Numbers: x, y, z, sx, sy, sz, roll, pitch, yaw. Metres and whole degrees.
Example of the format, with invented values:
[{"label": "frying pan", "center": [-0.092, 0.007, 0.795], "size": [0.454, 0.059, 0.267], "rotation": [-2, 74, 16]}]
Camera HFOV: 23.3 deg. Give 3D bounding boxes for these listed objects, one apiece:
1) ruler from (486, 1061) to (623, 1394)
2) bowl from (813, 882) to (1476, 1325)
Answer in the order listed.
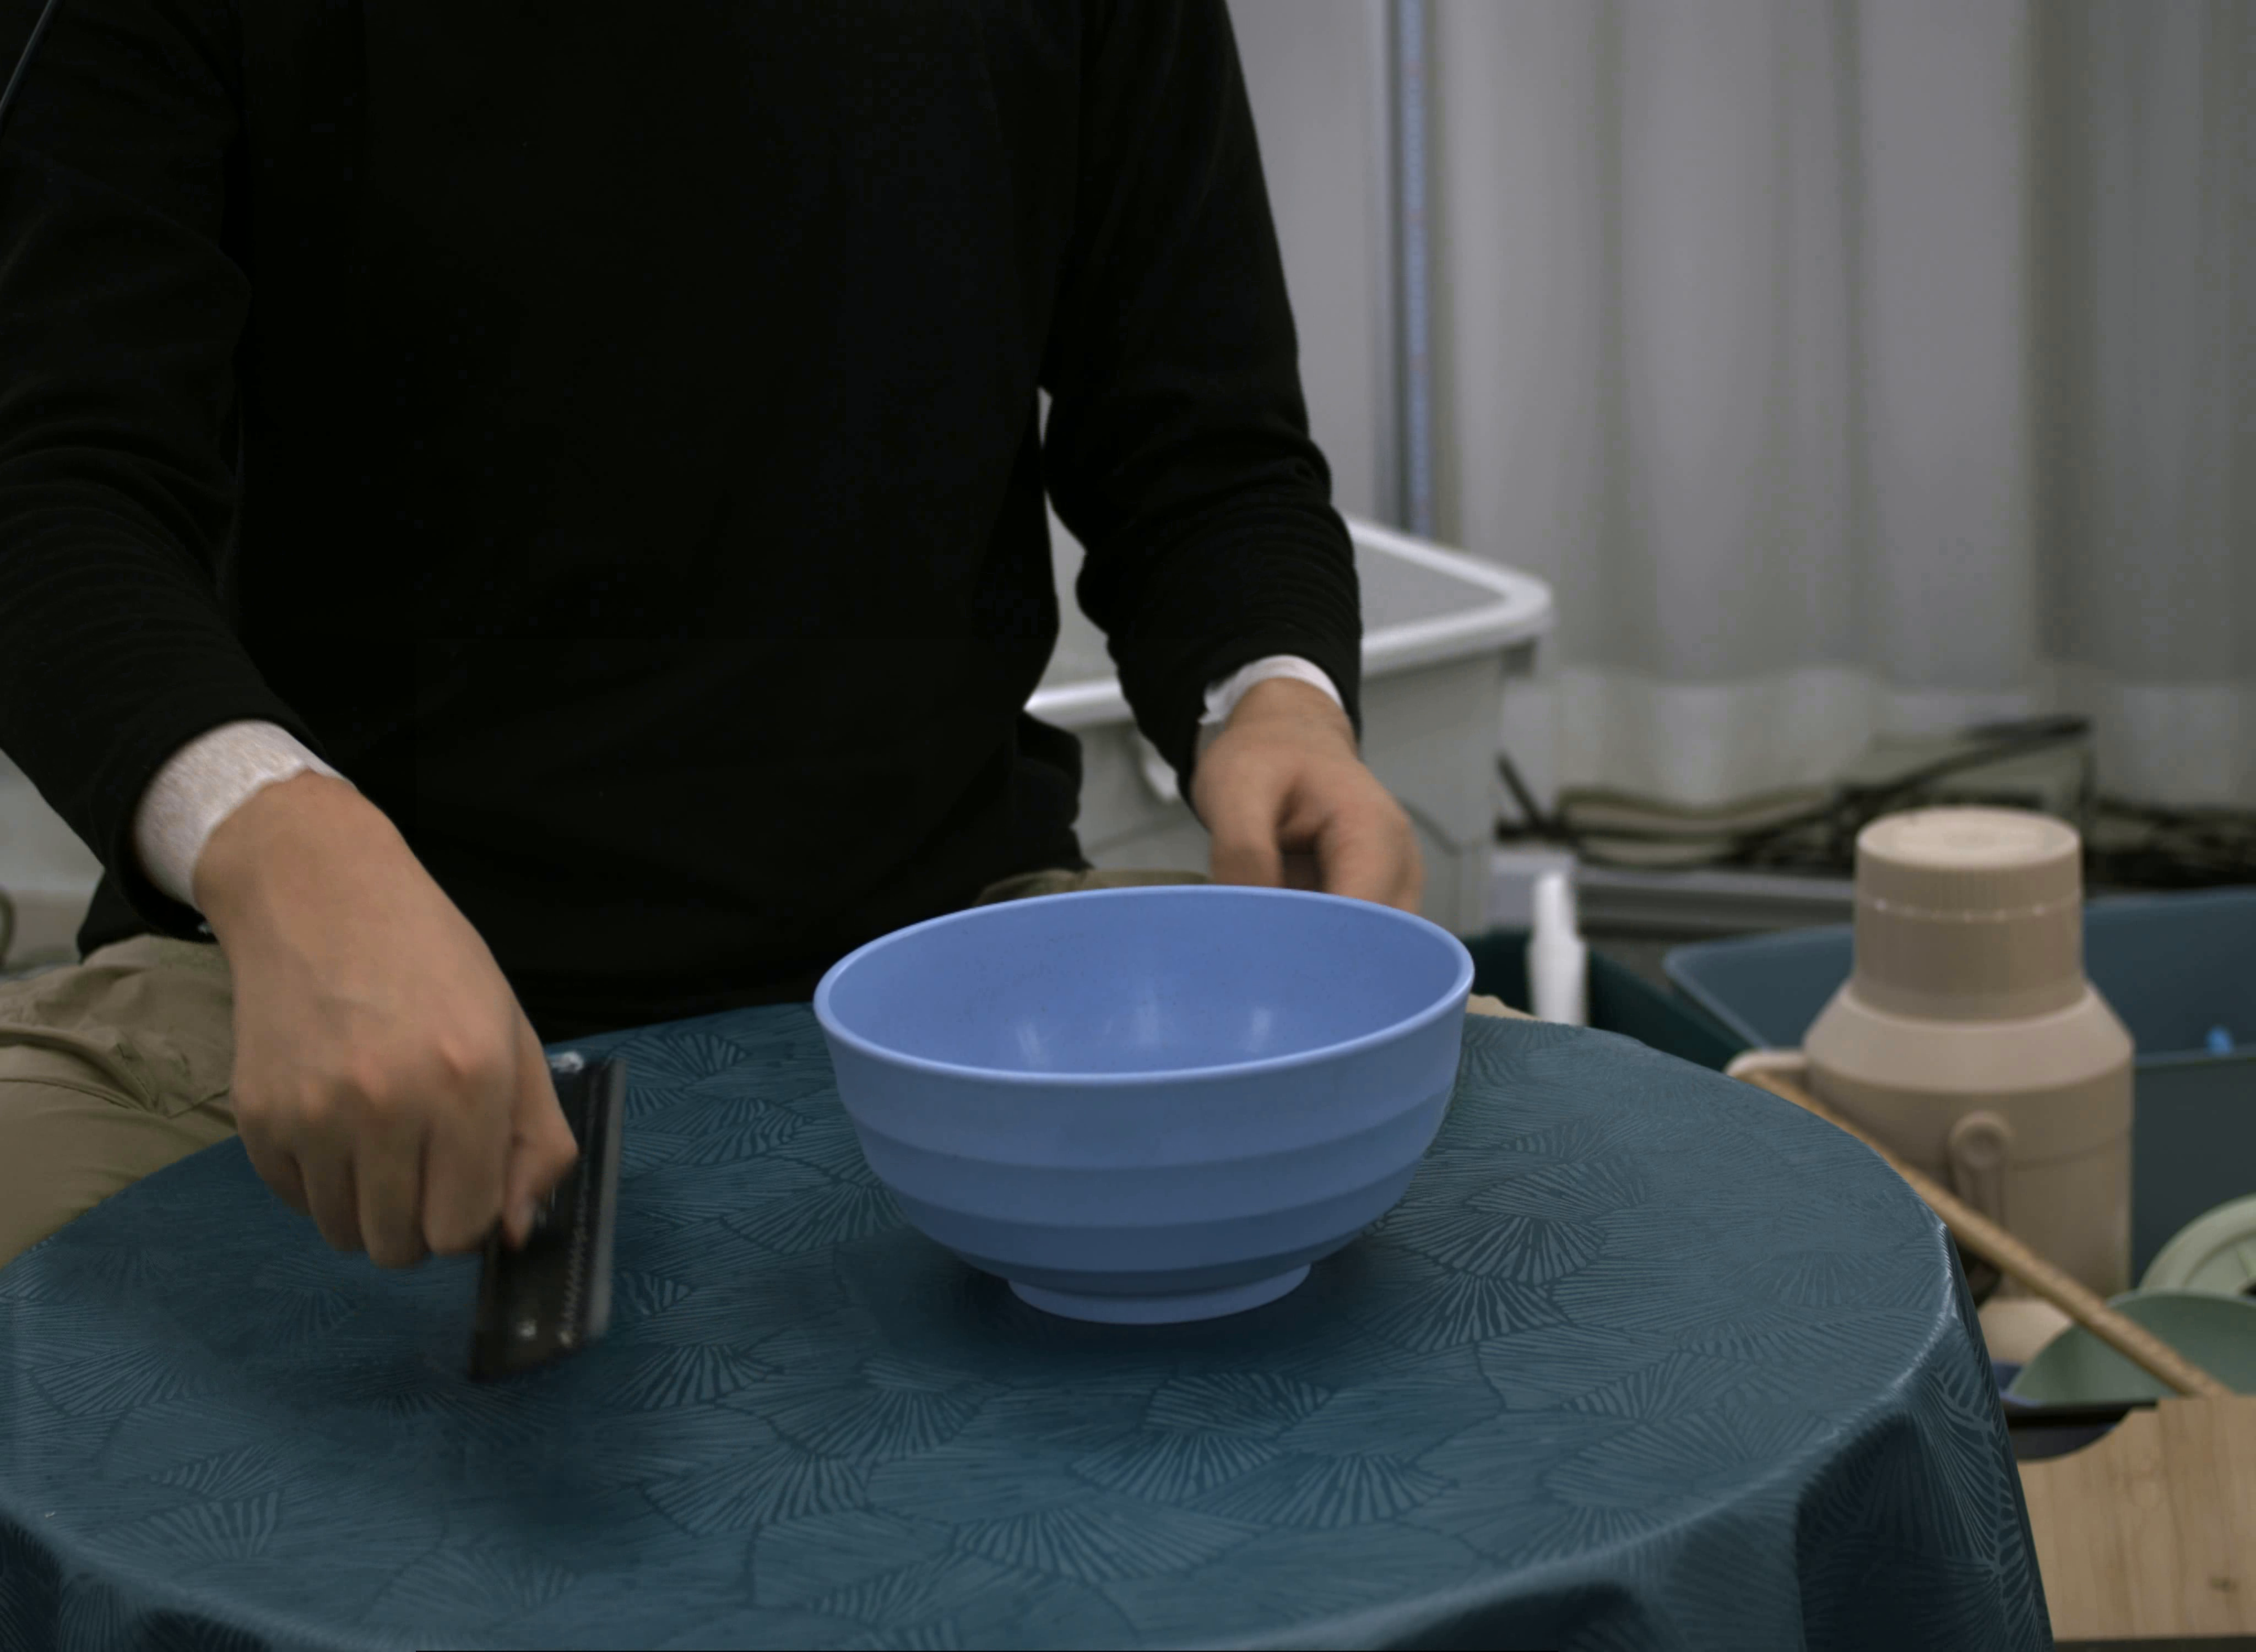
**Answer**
[{"label": "ruler", "center": [-0.168, 0.110, 1.606], "size": [0.039, 0.017, 0.314], "rotation": [-10, 12, -3]}, {"label": "bowl", "center": [0.006, 0.088, 1.627], "size": [0.196, 0.095, 0.198], "rotation": [-2, 15, 0]}]
